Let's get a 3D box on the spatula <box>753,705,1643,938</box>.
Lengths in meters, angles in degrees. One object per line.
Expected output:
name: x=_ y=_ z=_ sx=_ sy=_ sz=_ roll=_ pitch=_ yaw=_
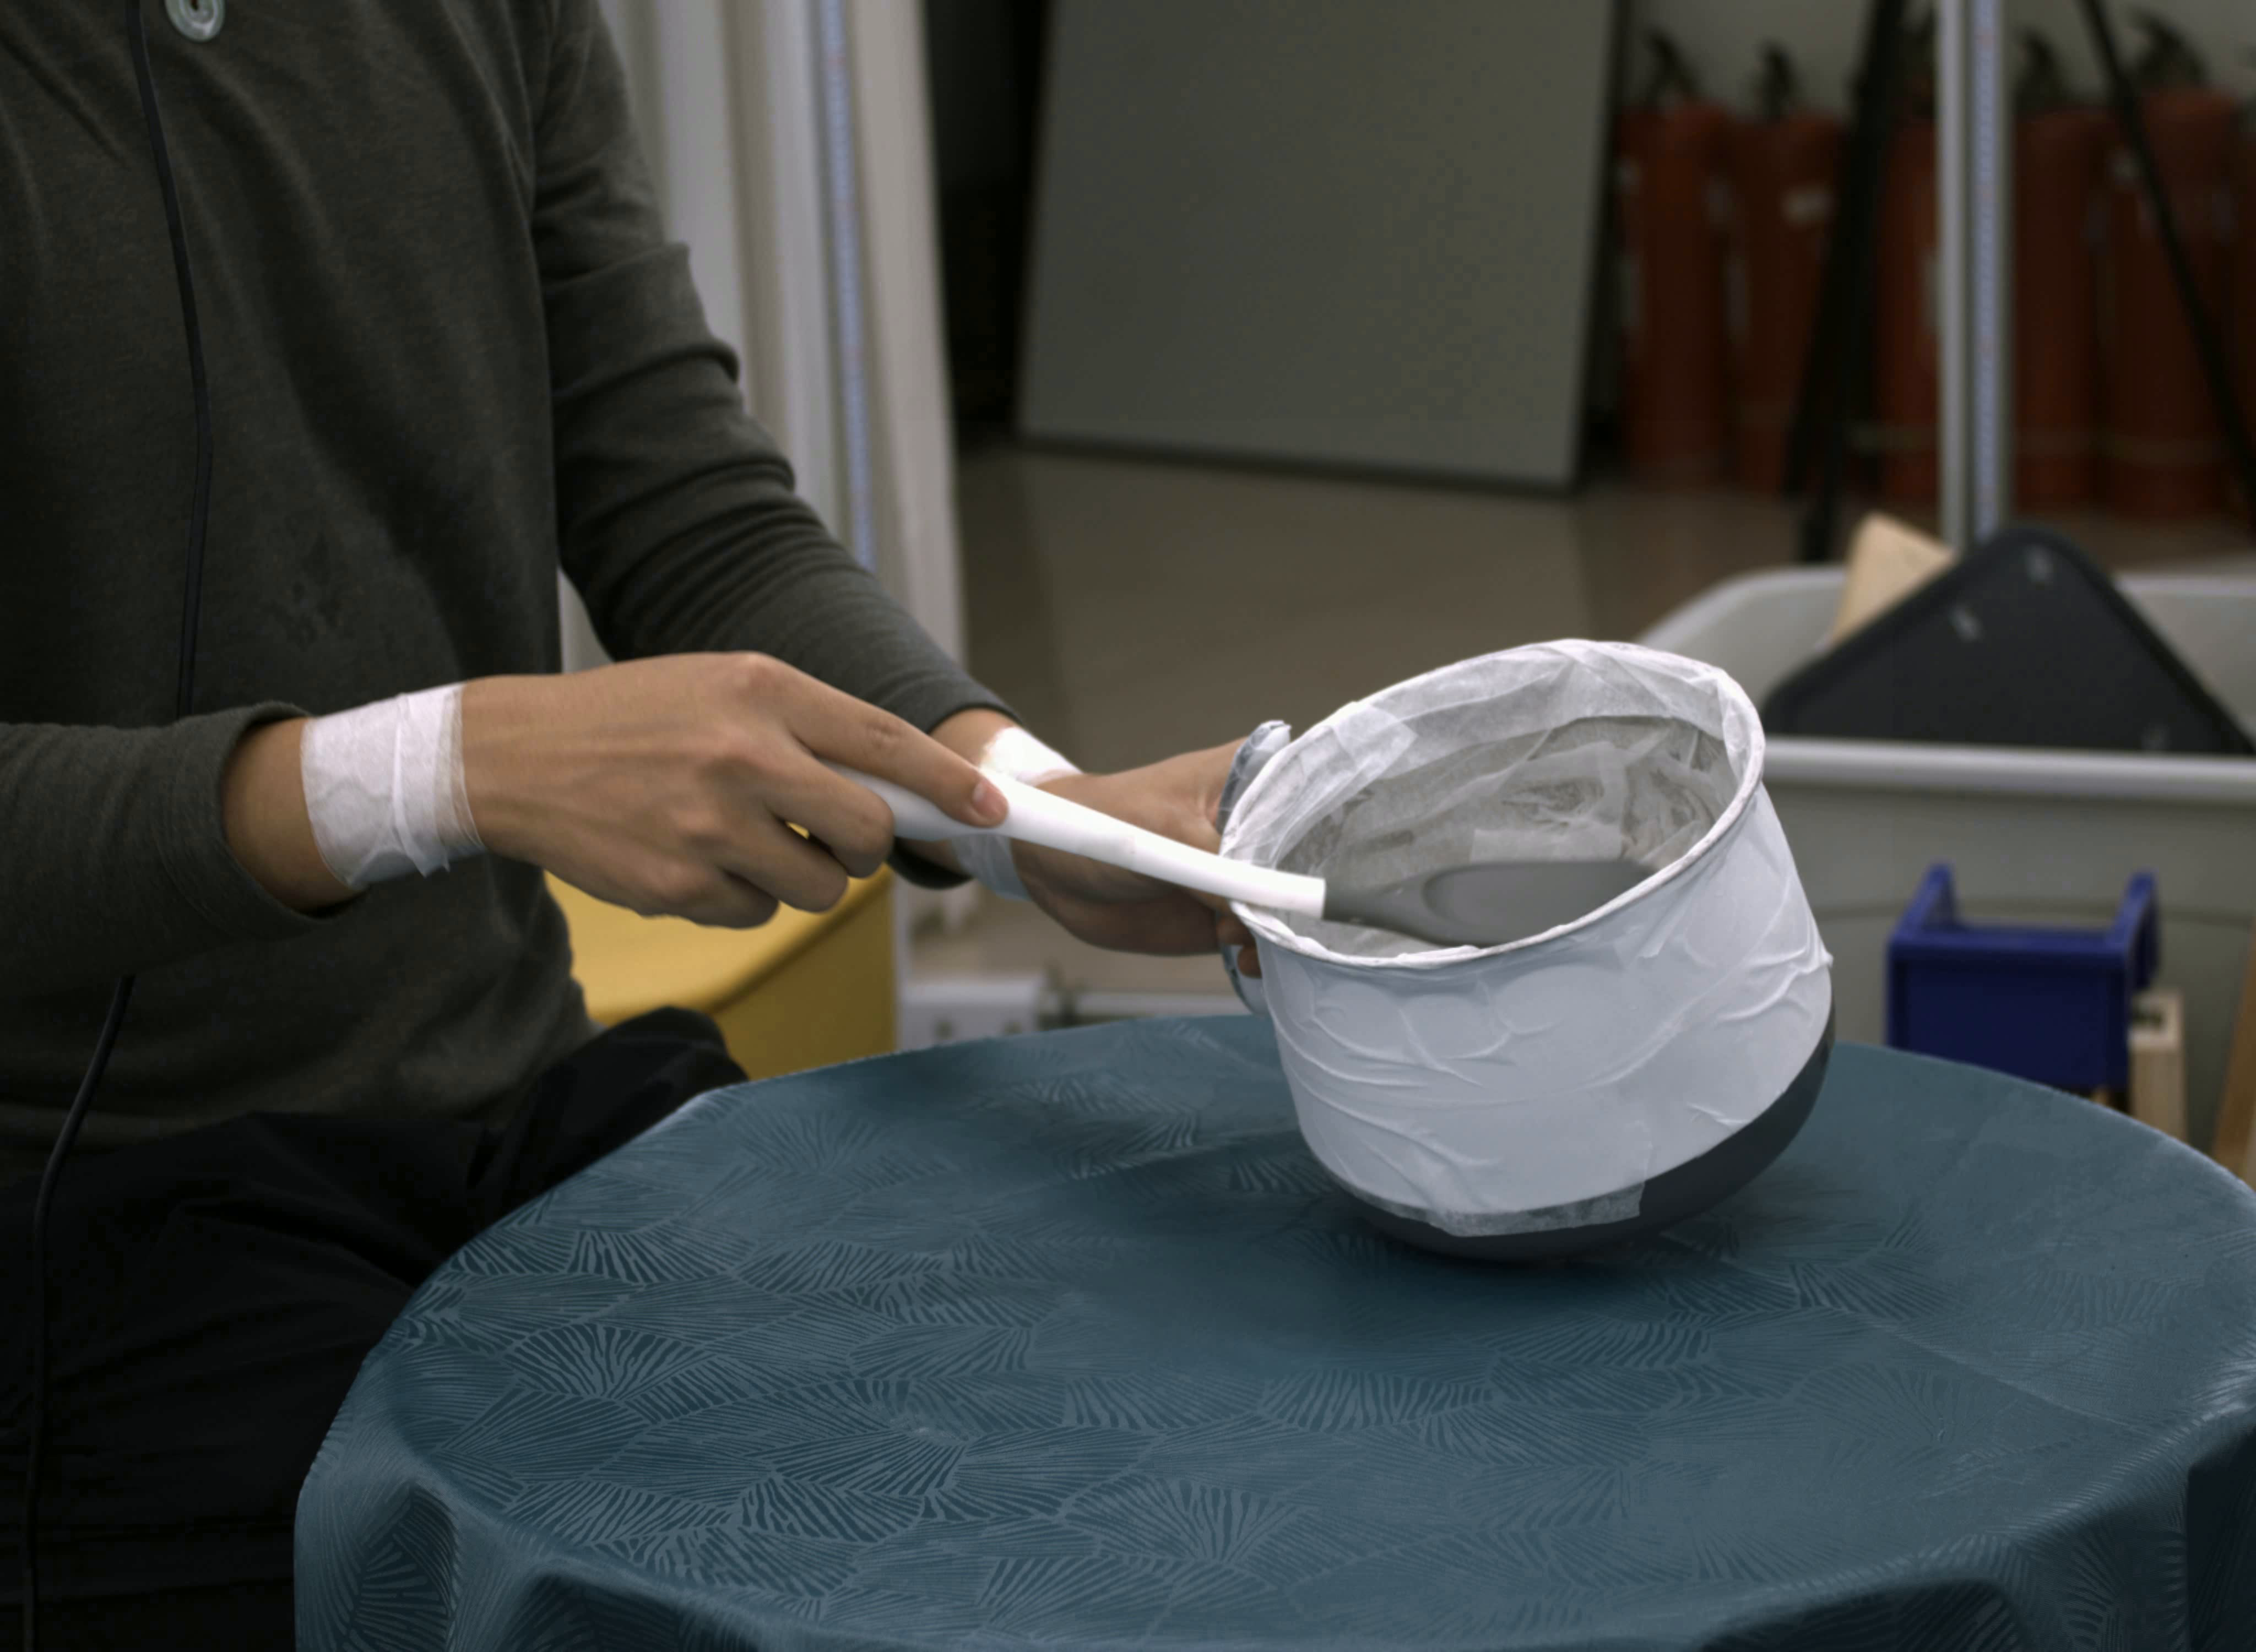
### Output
spatula: x=0.026 y=0.005 z=1.660 sx=0.283 sy=0.032 sz=0.059 roll=11 pitch=25 yaw=-3

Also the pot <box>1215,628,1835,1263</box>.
pot: x=0.110 y=0.036 z=1.719 sx=0.176 sy=0.137 sz=0.236 roll=-38 pitch=34 yaw=-30
